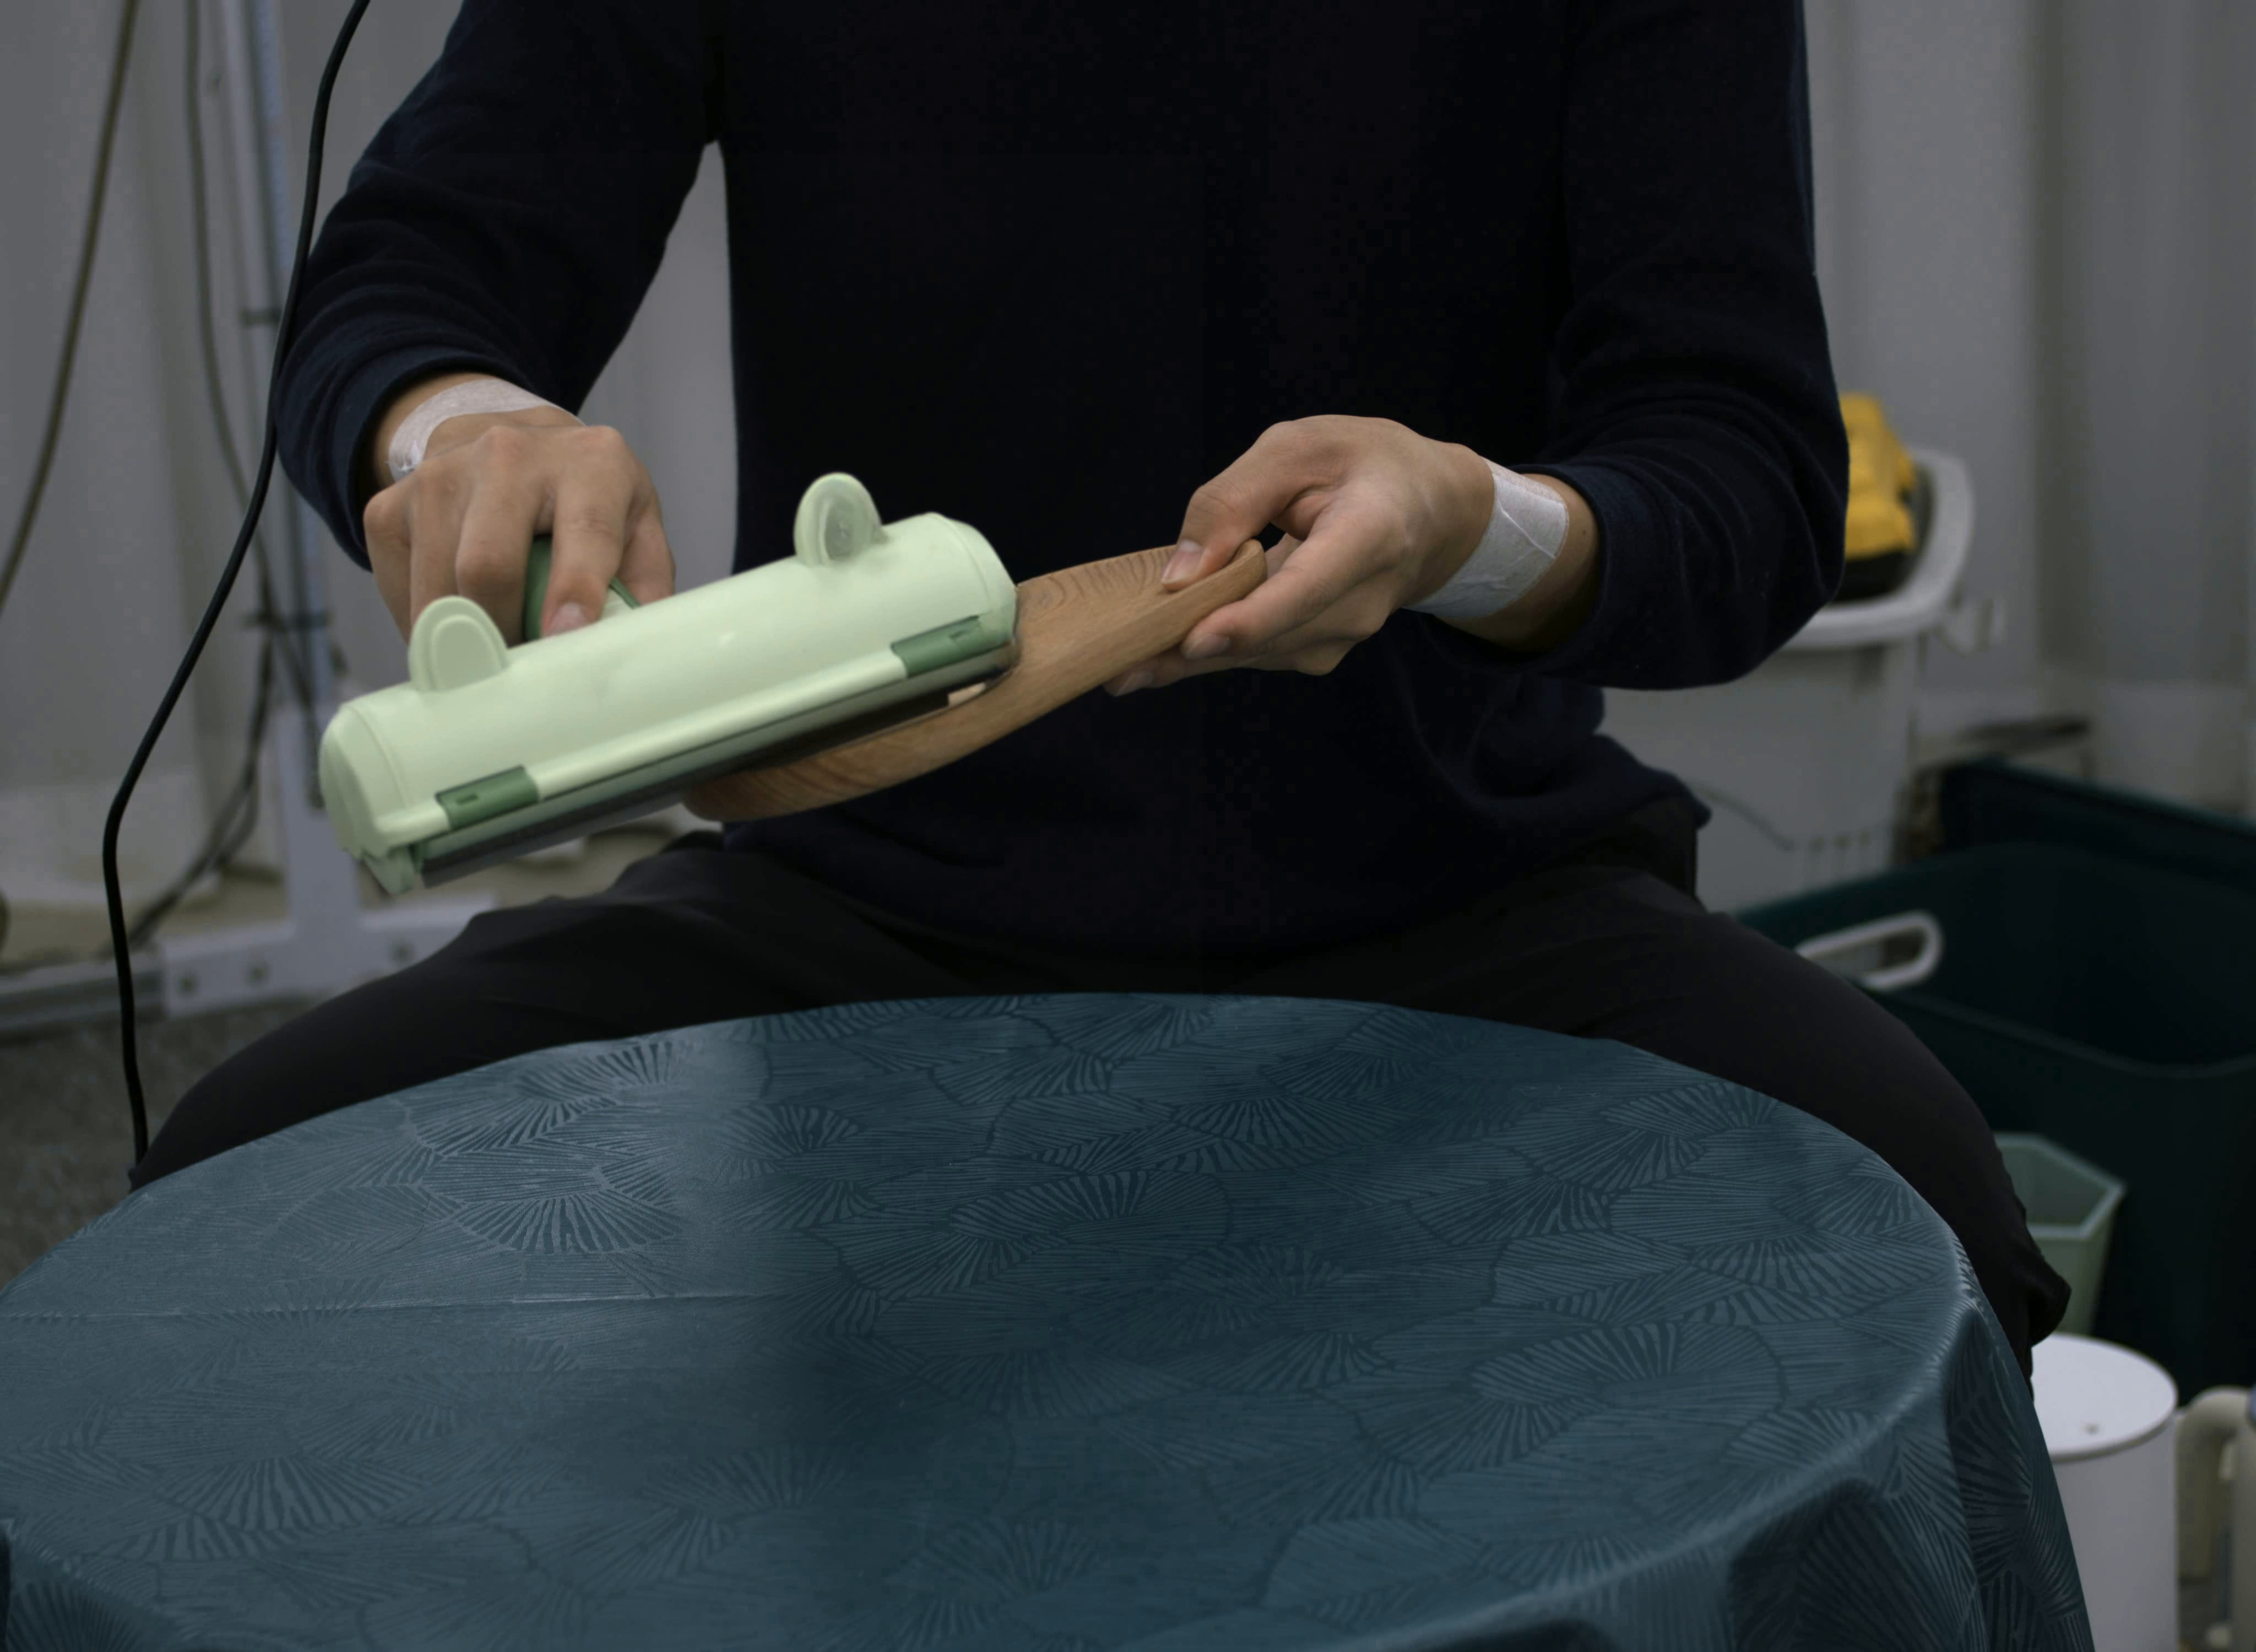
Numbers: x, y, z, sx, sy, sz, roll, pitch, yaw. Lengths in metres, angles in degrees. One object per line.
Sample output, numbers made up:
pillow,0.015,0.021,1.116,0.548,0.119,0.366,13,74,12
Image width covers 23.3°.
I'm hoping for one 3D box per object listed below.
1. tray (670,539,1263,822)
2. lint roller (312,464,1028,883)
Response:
tray,-0.044,-0.044,1.594,0.102,0.020,0.232,-7,15,38
lint roller,-0.153,-0.072,1.545,0.198,0.081,0.186,-19,40,-22
